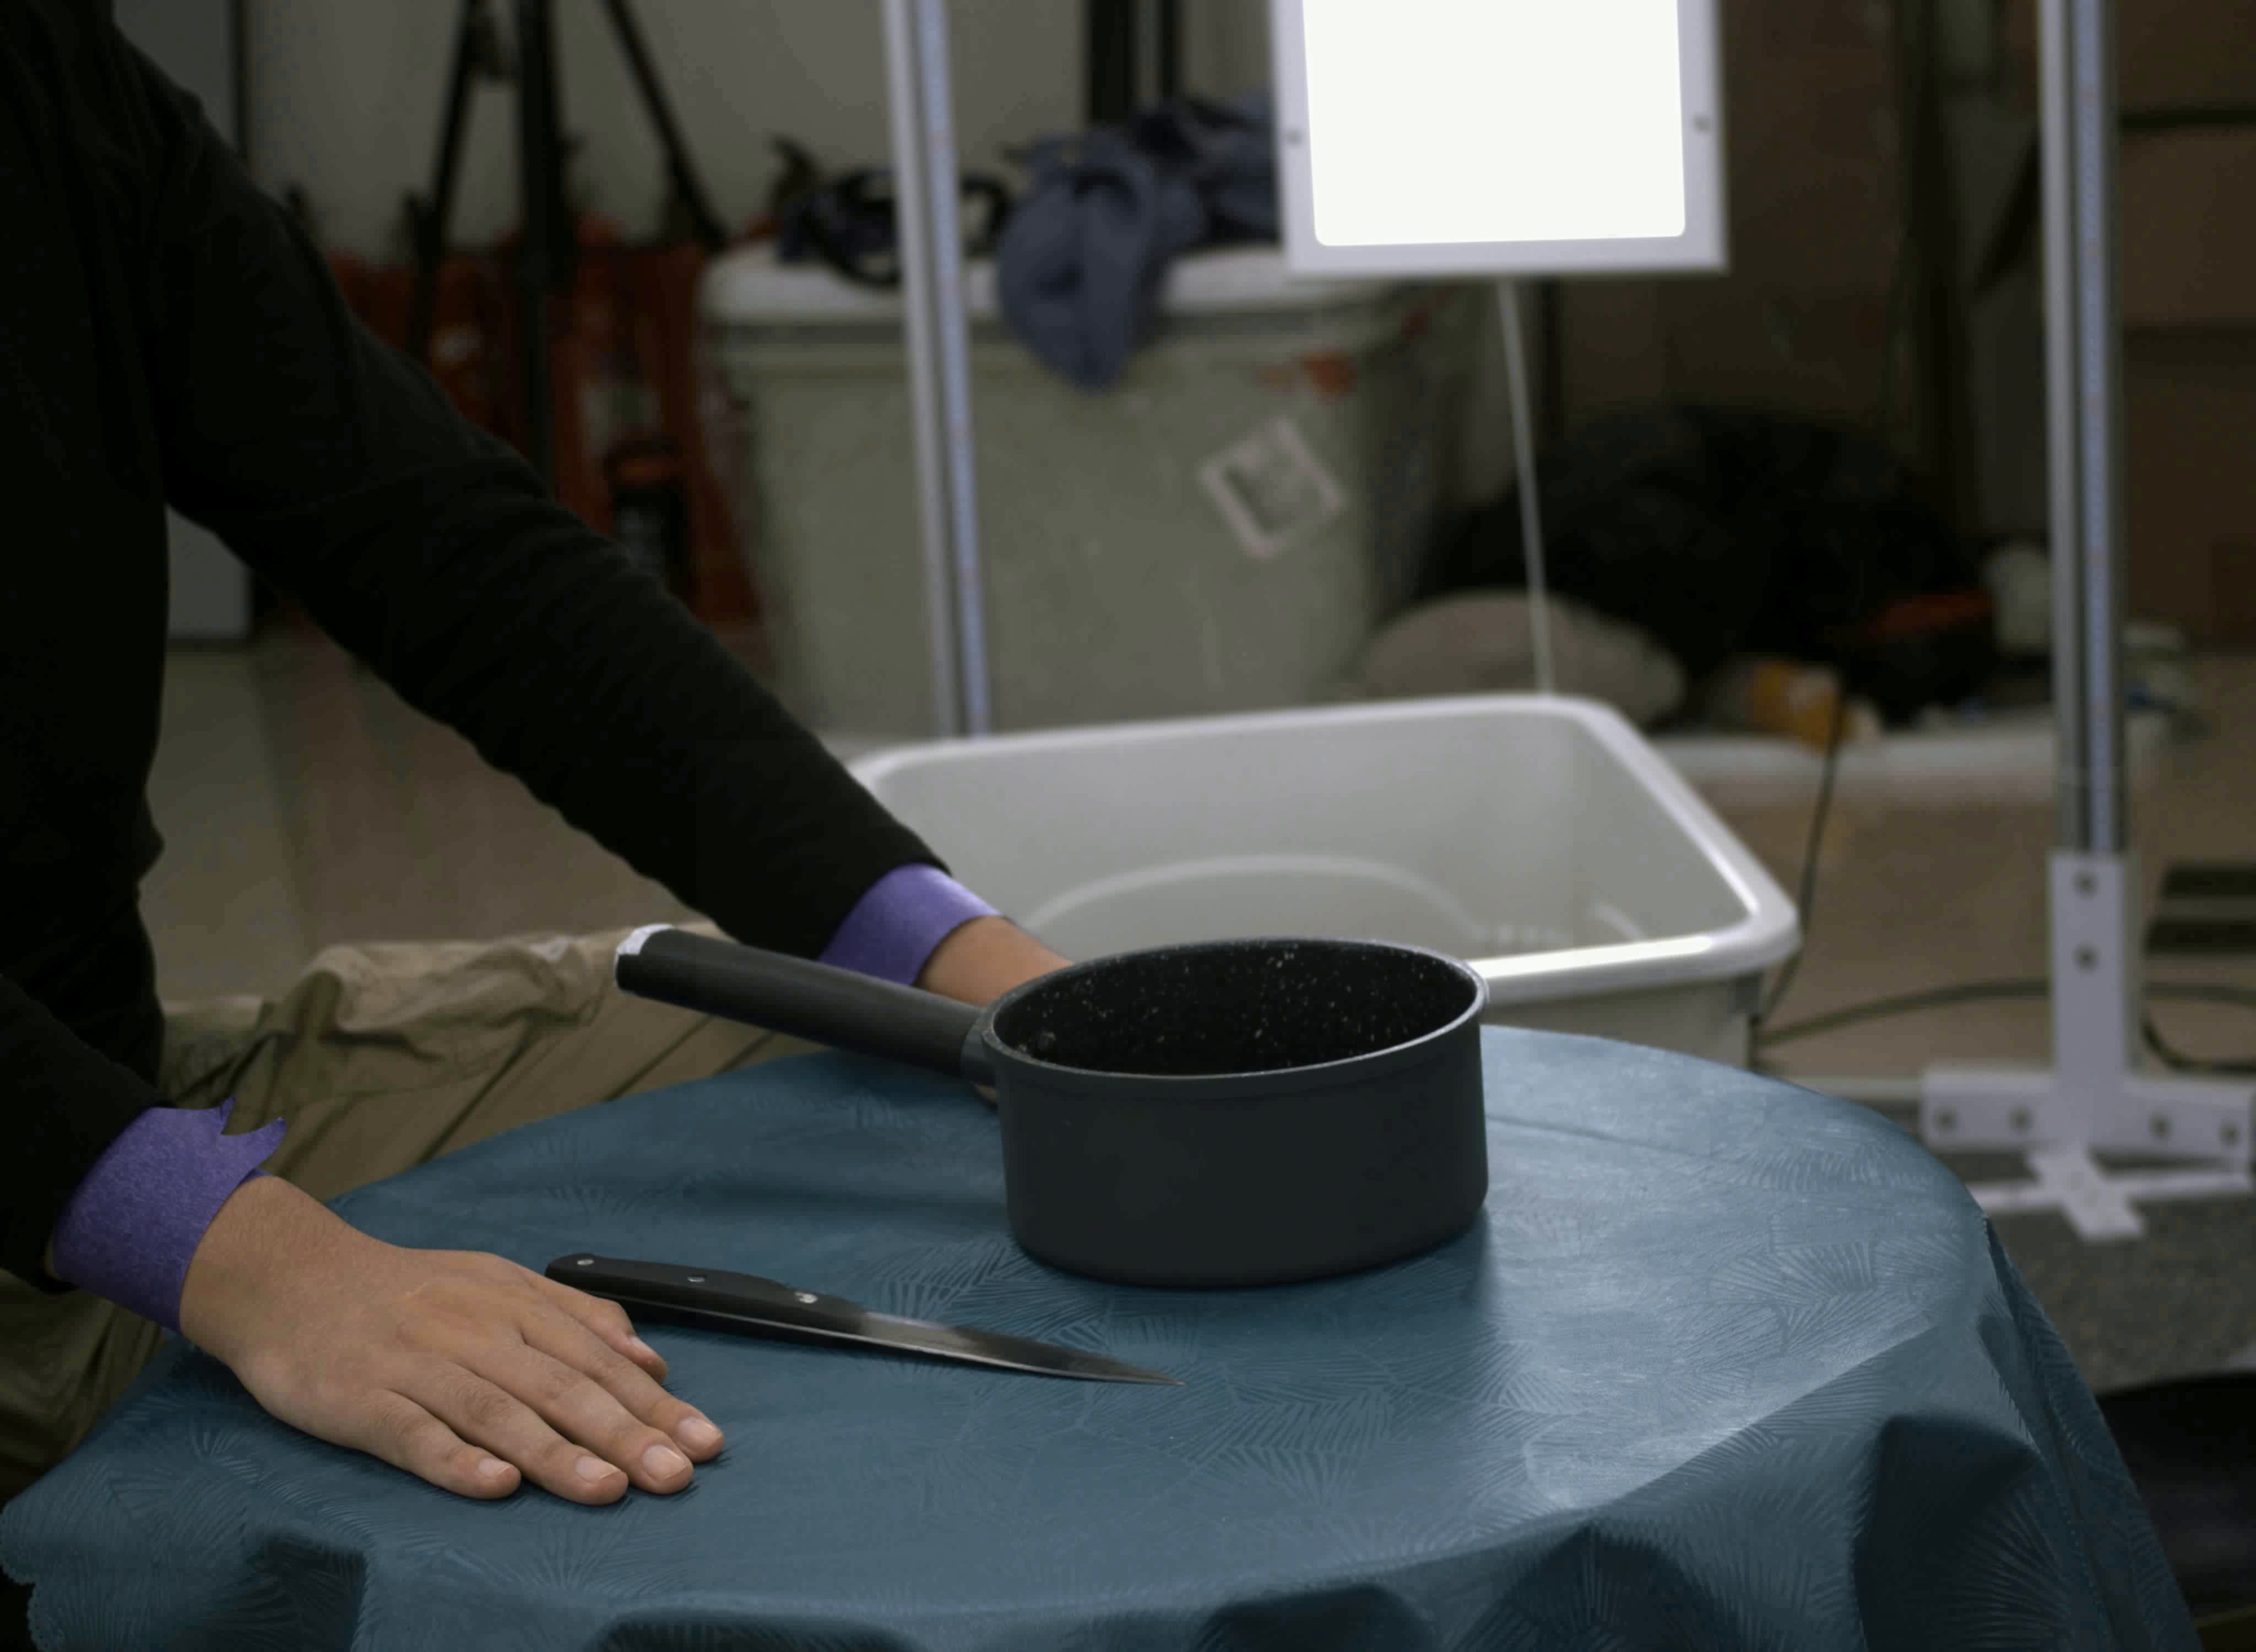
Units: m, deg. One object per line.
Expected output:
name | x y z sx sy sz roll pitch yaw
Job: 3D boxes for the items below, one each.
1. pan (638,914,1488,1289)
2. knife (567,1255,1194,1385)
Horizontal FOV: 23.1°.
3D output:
pan | -0.030 0.087 1.895 0.335 0.087 0.168 5 17 33
knife | -0.084 0.161 1.767 0.242 0.016 0.024 7 17 31
